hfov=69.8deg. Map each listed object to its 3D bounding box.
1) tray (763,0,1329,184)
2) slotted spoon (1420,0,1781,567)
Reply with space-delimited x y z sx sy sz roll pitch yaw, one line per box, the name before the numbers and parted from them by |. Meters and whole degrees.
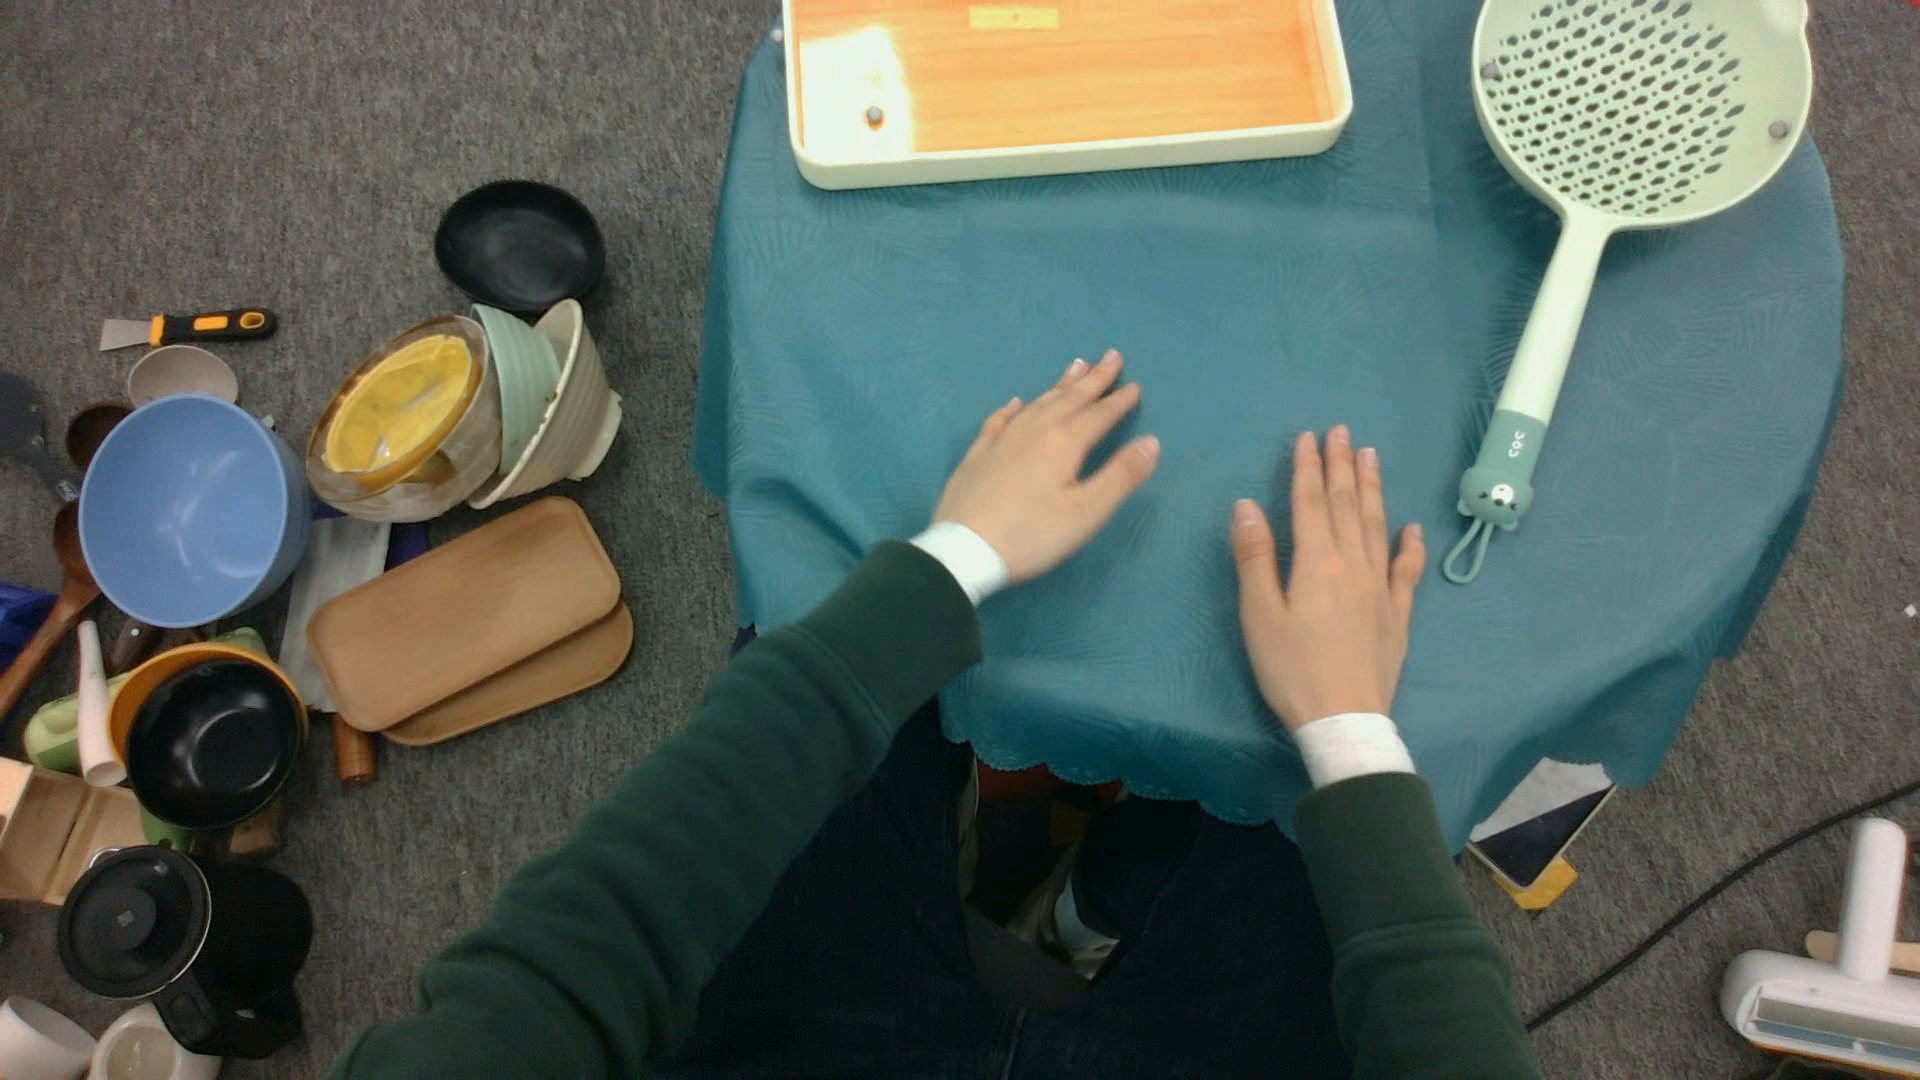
tray | 0.042 -0.294 0.767 0.300 0.027 0.192 -4 71 -2
slotted spoon | 0.301 -0.155 0.703 0.169 0.075 0.360 21 72 7
